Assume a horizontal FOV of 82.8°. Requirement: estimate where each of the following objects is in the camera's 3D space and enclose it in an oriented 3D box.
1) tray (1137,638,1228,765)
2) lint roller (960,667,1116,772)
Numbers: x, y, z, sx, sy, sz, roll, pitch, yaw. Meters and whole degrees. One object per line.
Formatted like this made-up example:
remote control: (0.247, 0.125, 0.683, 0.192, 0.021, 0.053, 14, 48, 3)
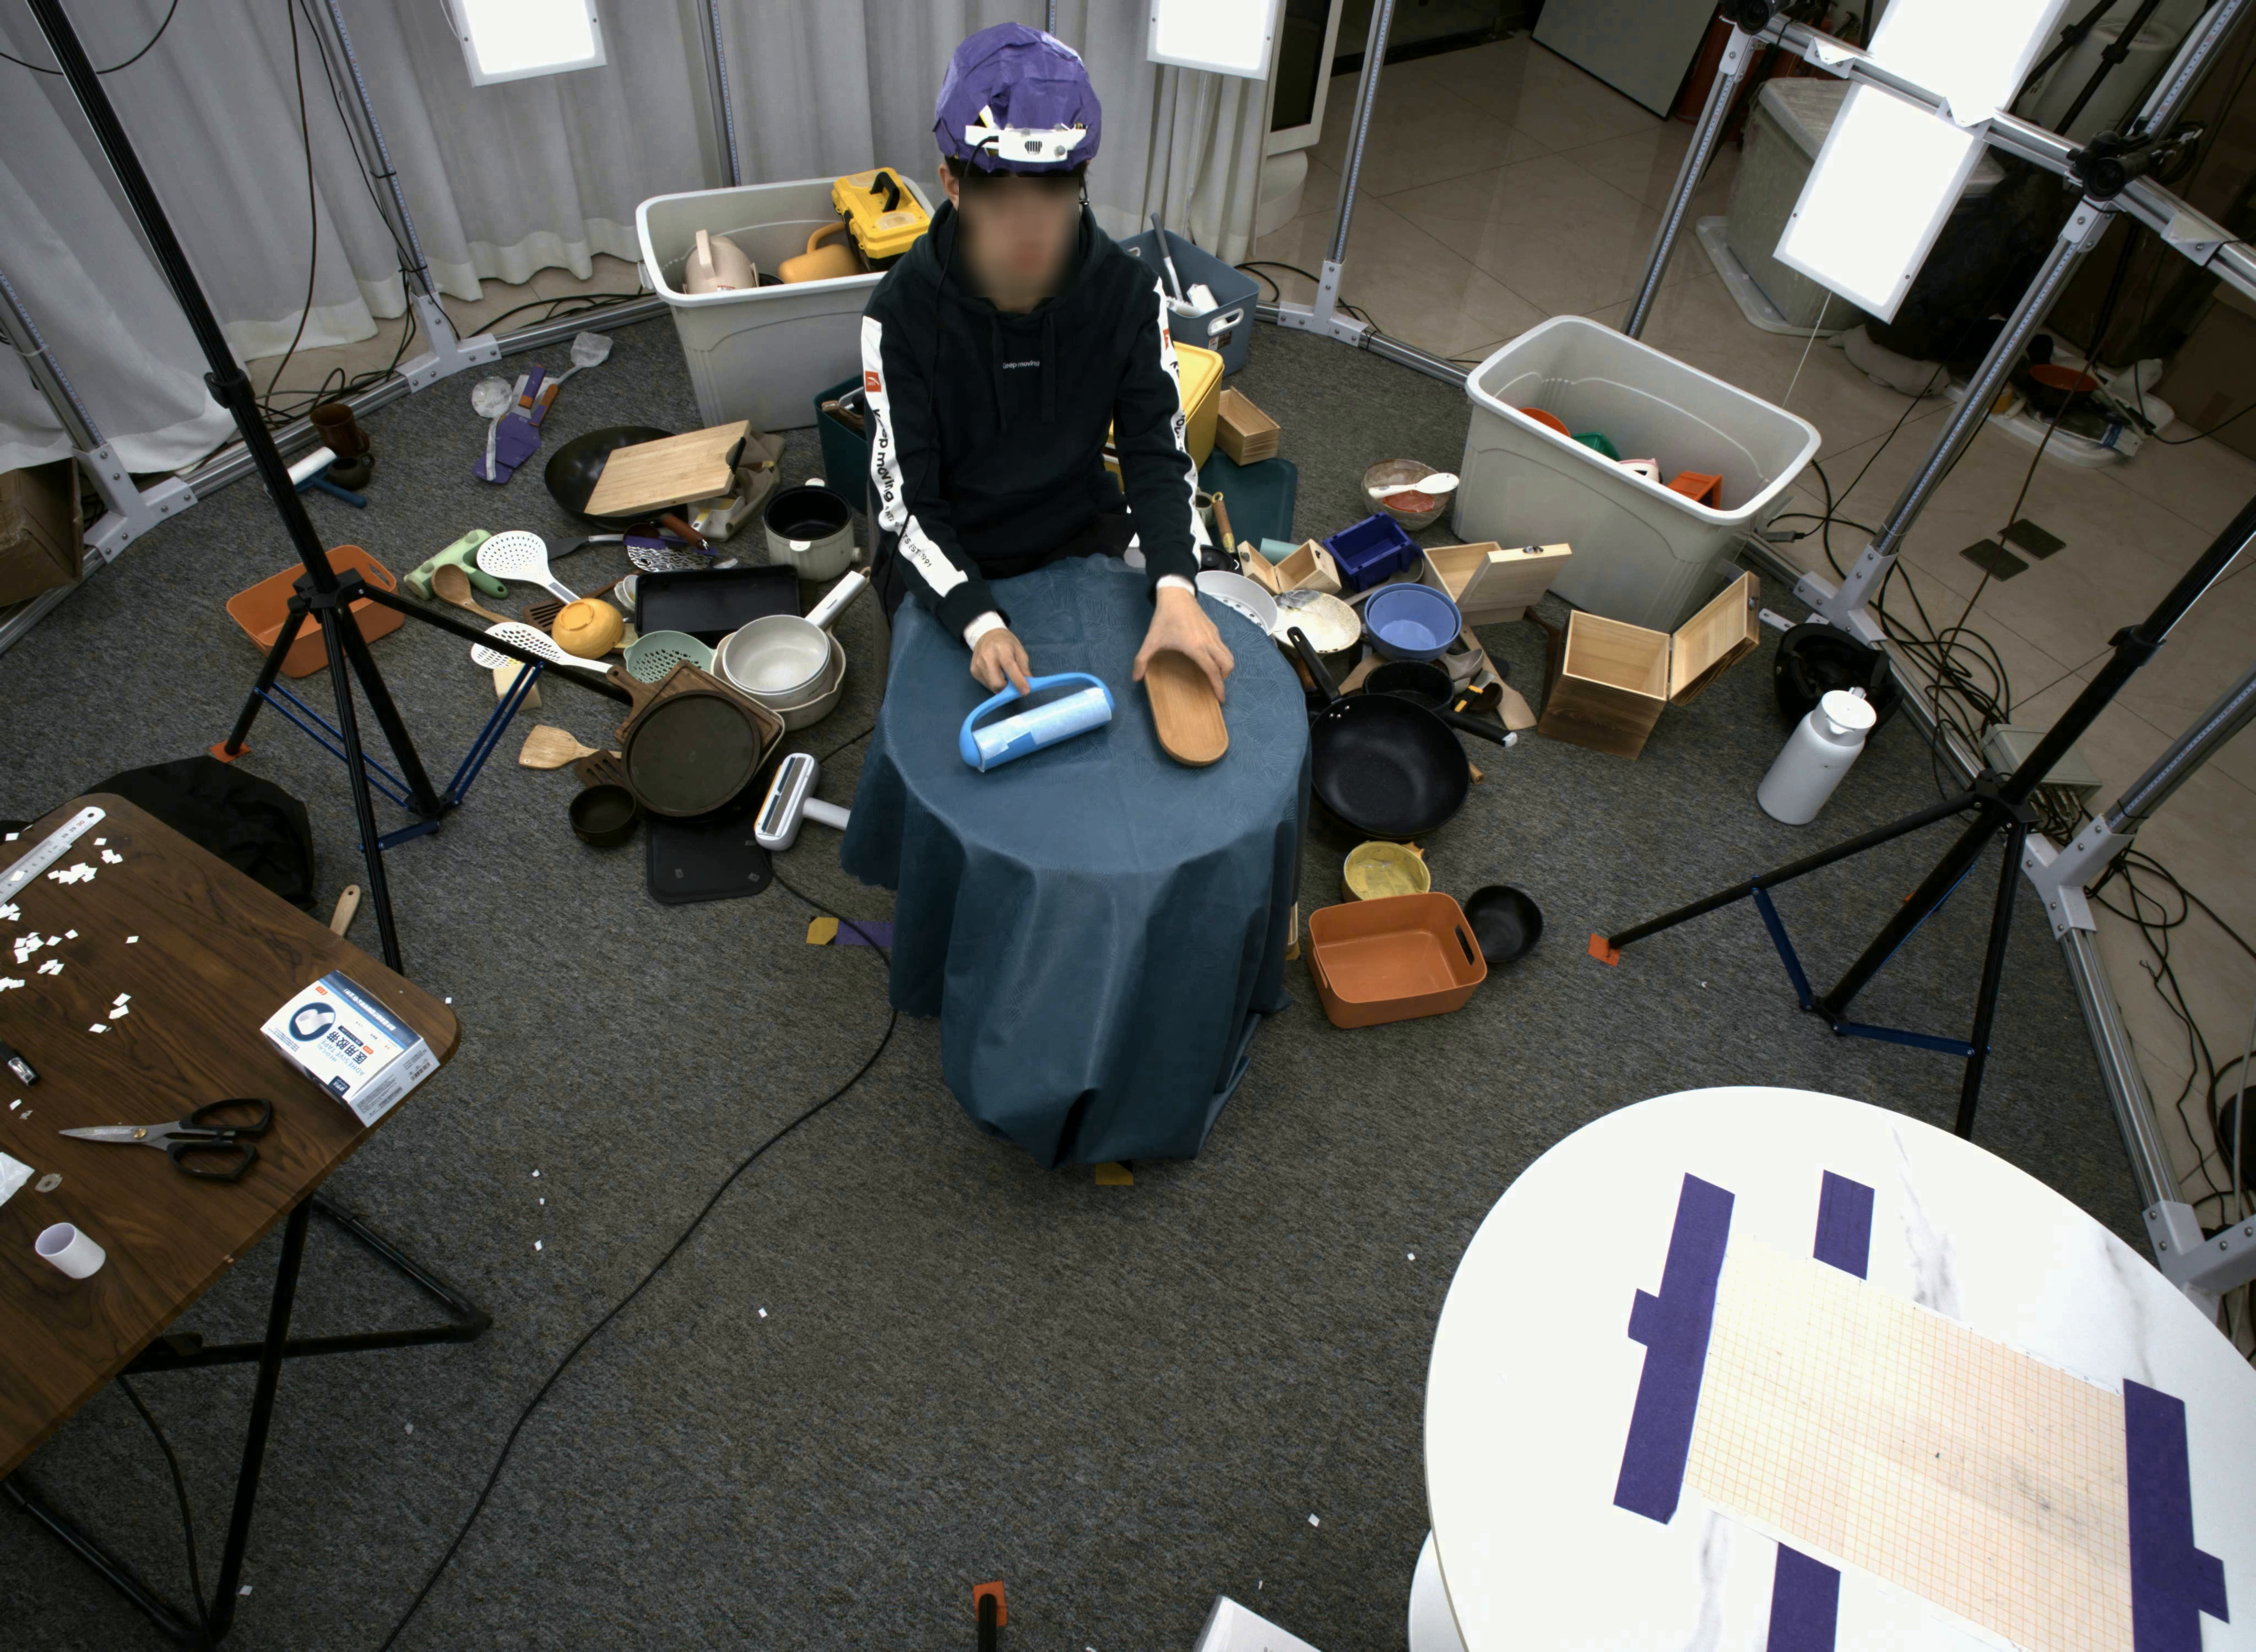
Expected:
tray: (0.075, -0.178, 1.804, 0.101, 0.020, 0.237, -1, 51, -17)
lint roller: (-0.150, -0.173, 1.768, 0.230, 0.066, 0.184, -25, 57, -21)
